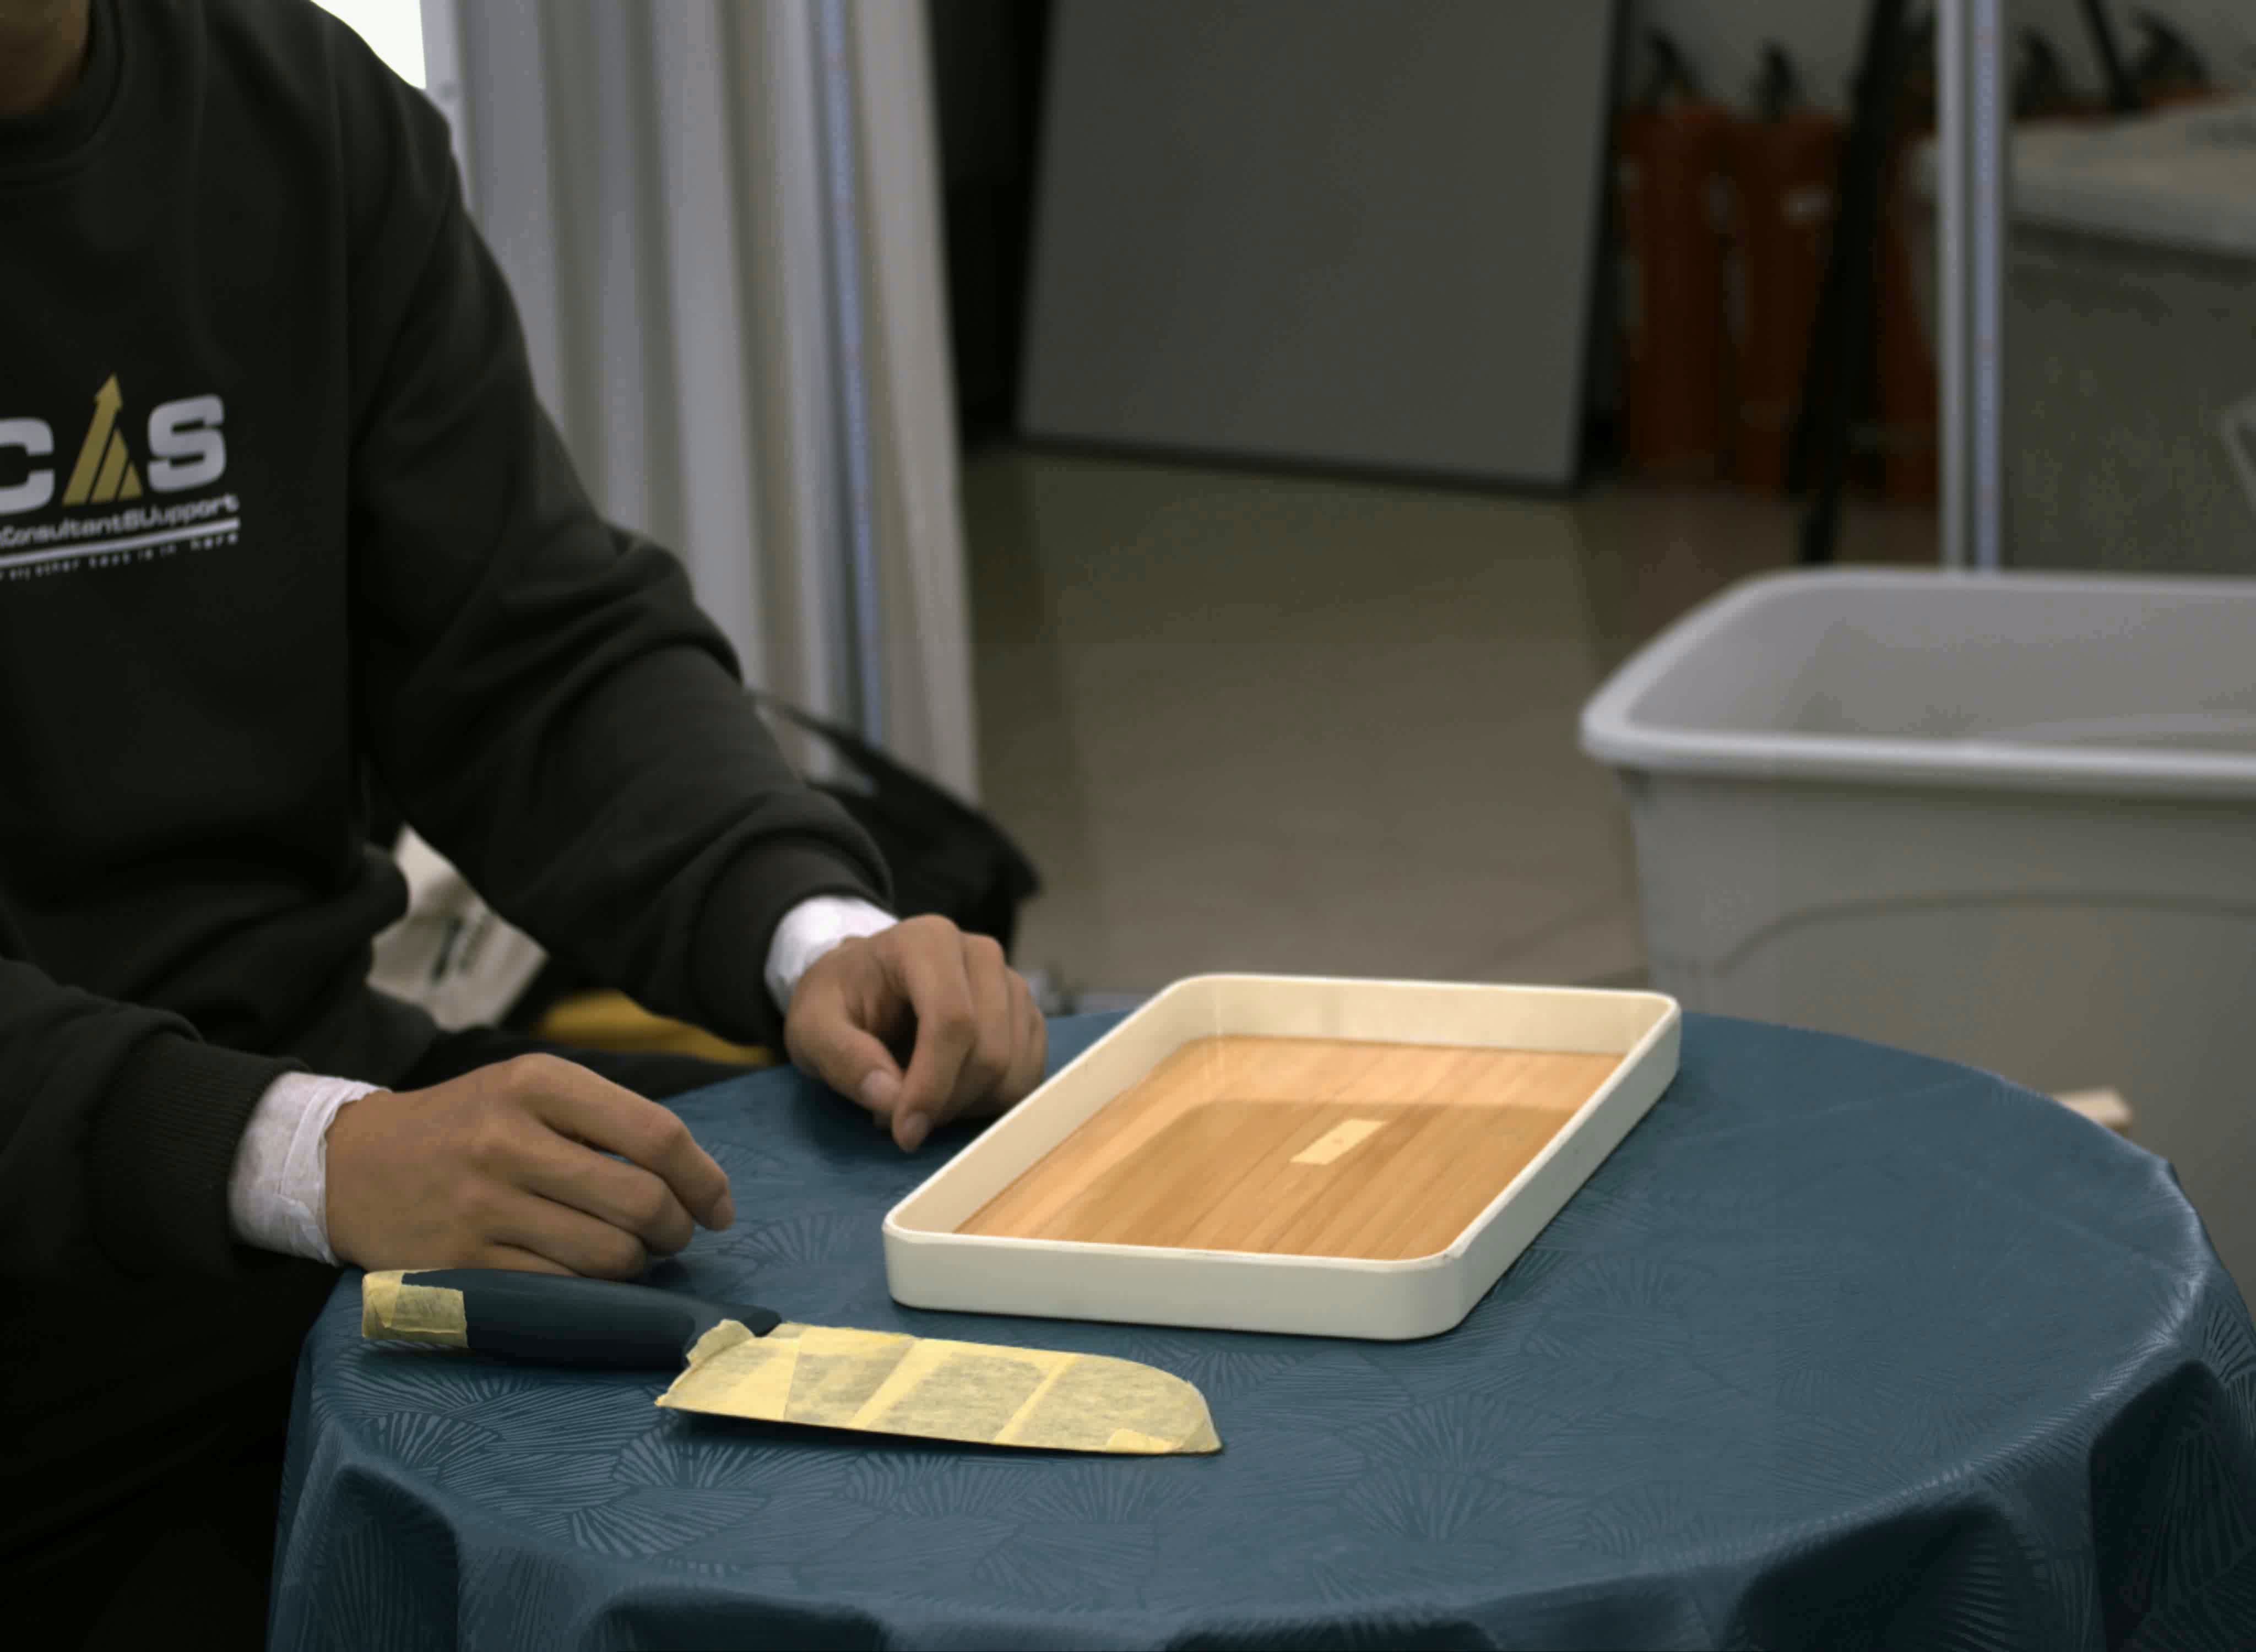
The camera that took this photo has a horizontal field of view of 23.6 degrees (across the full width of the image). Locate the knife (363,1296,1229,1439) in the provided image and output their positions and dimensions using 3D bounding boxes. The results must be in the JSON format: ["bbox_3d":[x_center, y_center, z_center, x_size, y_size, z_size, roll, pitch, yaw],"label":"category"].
[{"bbox_3d":[-0.104,0.164,1.600,0.289,0.027,0.080,2,13,22],"label":"knife"}]

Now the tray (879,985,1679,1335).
[{"bbox_3d":[0.057,0.105,1.768,0.191,0.028,0.297,0,14,22],"label":"tray"}]
